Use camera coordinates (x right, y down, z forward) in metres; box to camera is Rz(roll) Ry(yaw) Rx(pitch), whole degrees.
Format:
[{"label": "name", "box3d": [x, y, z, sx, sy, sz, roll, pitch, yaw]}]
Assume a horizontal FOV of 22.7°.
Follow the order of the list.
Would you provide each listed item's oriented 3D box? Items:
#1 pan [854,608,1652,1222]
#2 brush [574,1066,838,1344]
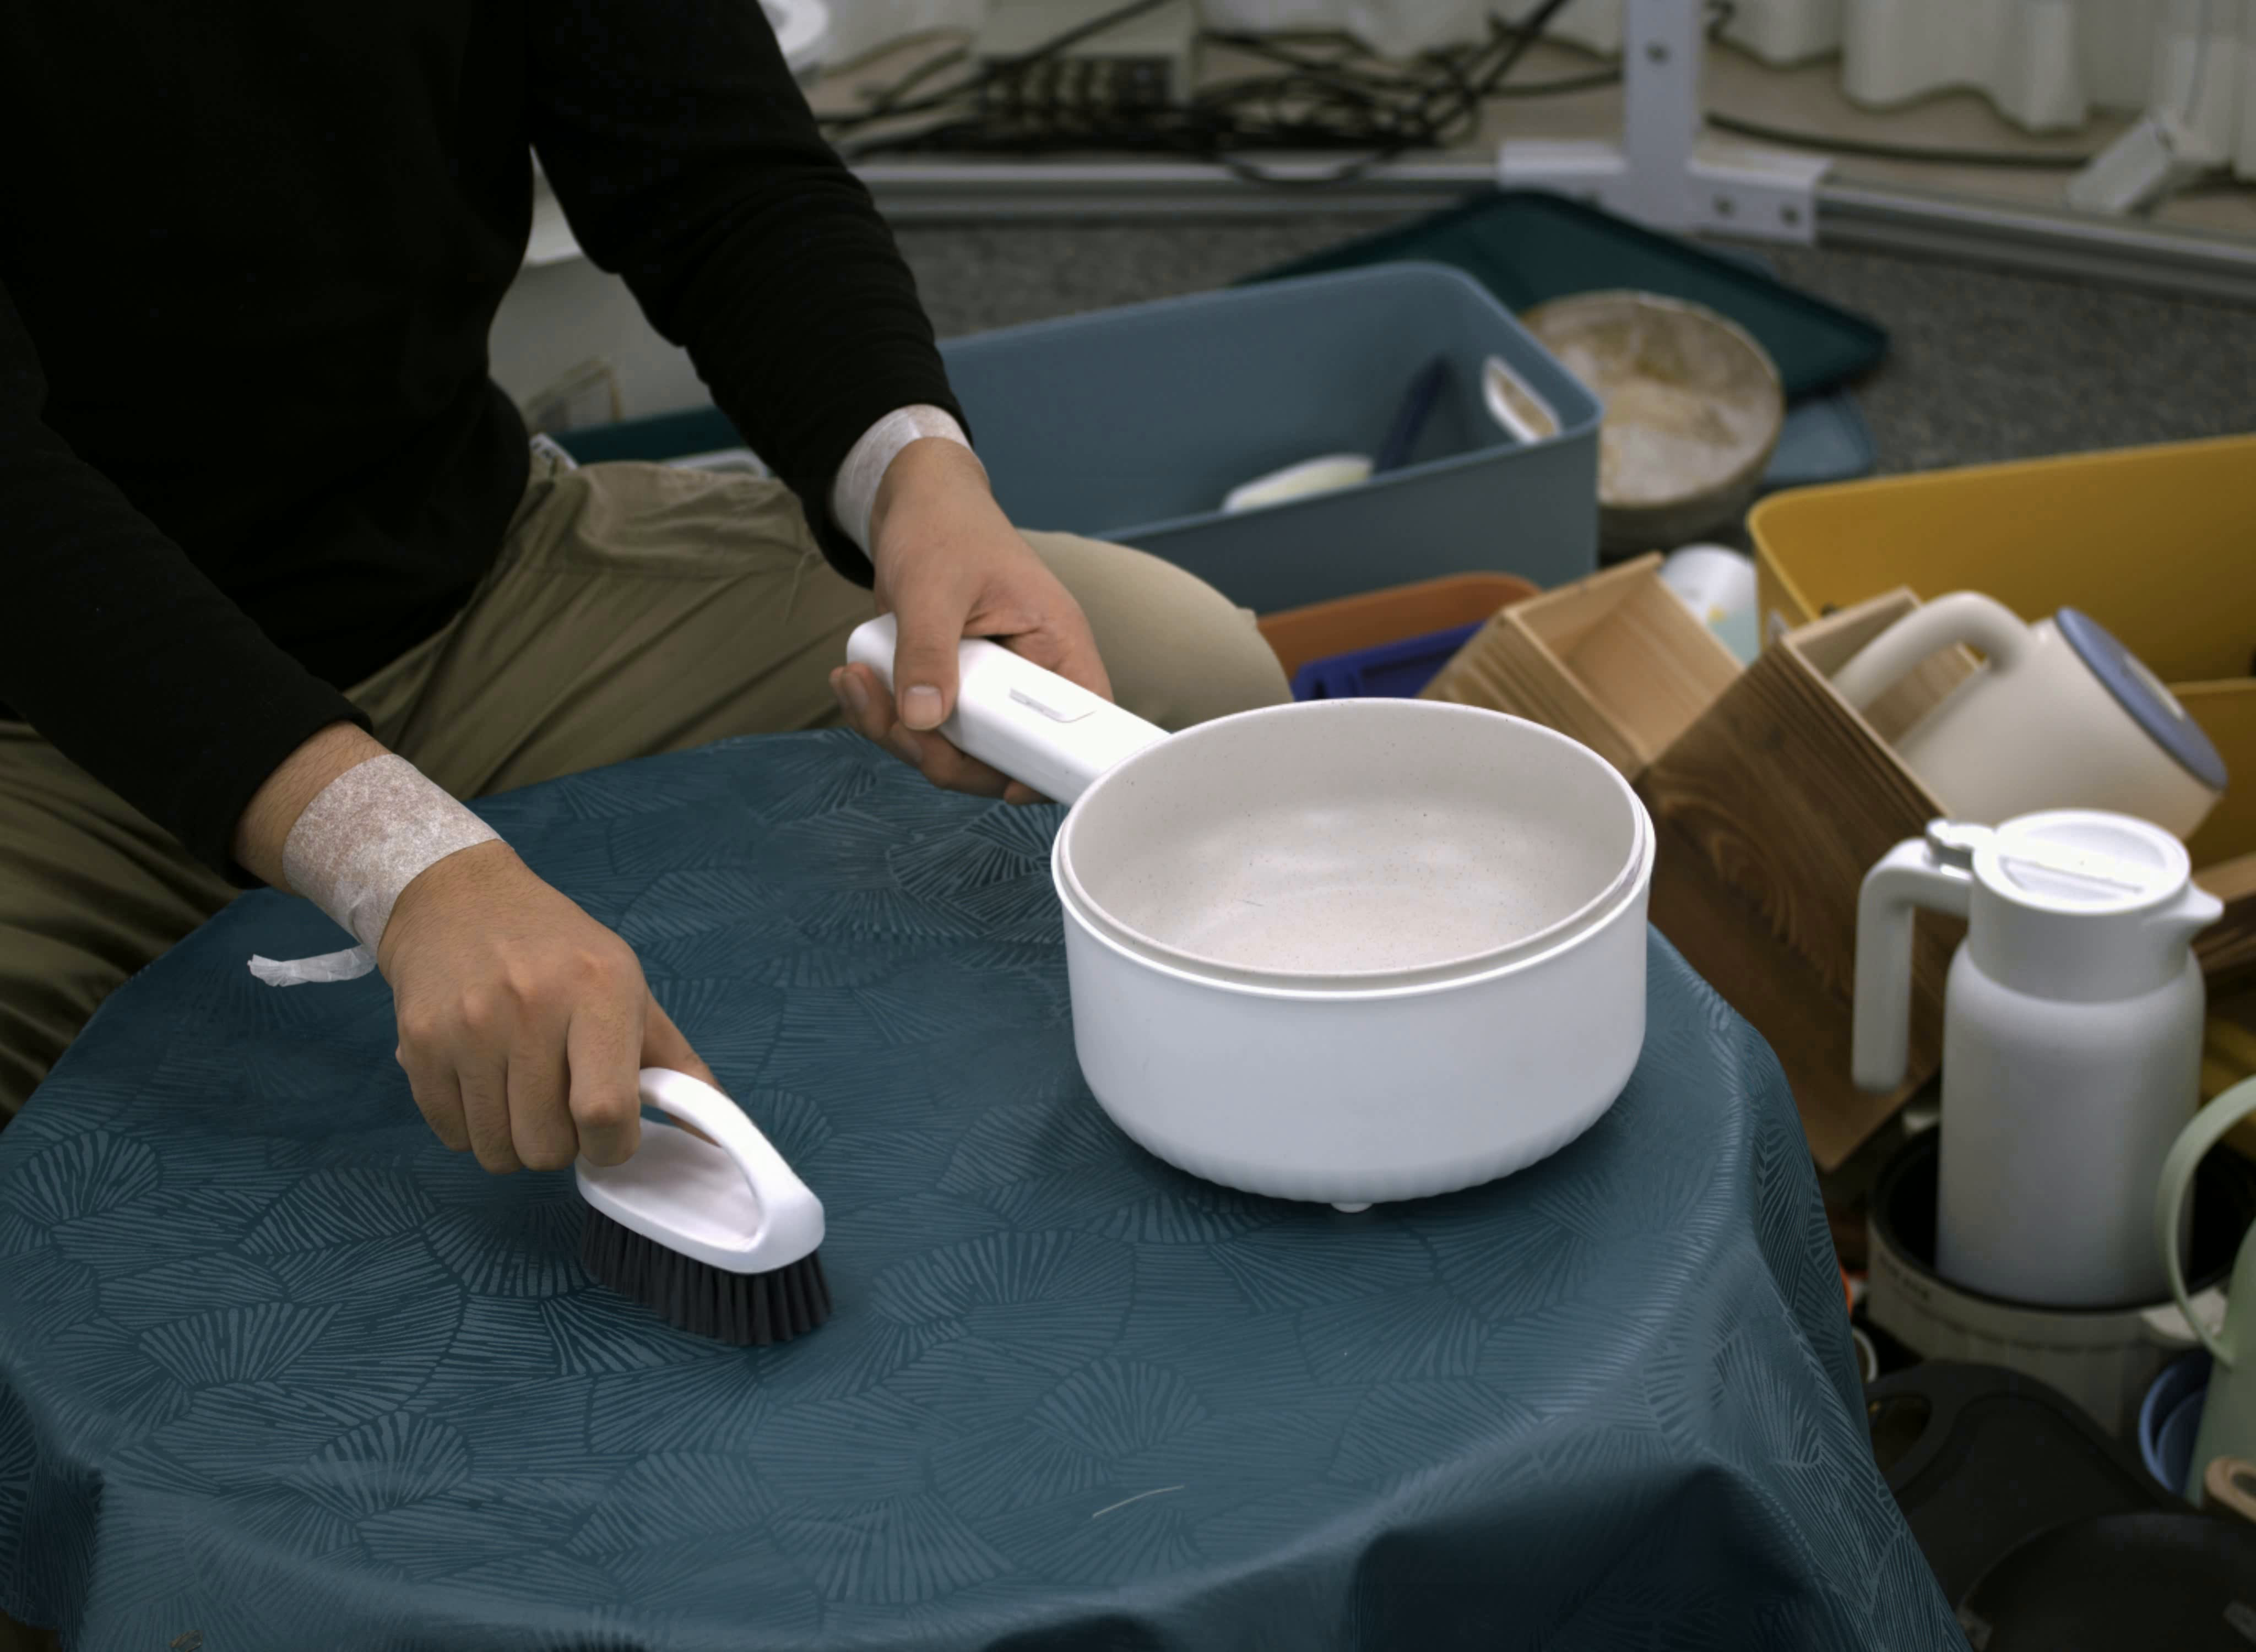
[{"label": "pan", "box3d": [0.028, 0.024, 1.946, 0.203, 0.101, 0.355, -25, 34, -33]}, {"label": "brush", "box3d": [-0.139, 0.115, 1.807, 0.051, 0.072, 0.099, -29, 36, -36]}]
